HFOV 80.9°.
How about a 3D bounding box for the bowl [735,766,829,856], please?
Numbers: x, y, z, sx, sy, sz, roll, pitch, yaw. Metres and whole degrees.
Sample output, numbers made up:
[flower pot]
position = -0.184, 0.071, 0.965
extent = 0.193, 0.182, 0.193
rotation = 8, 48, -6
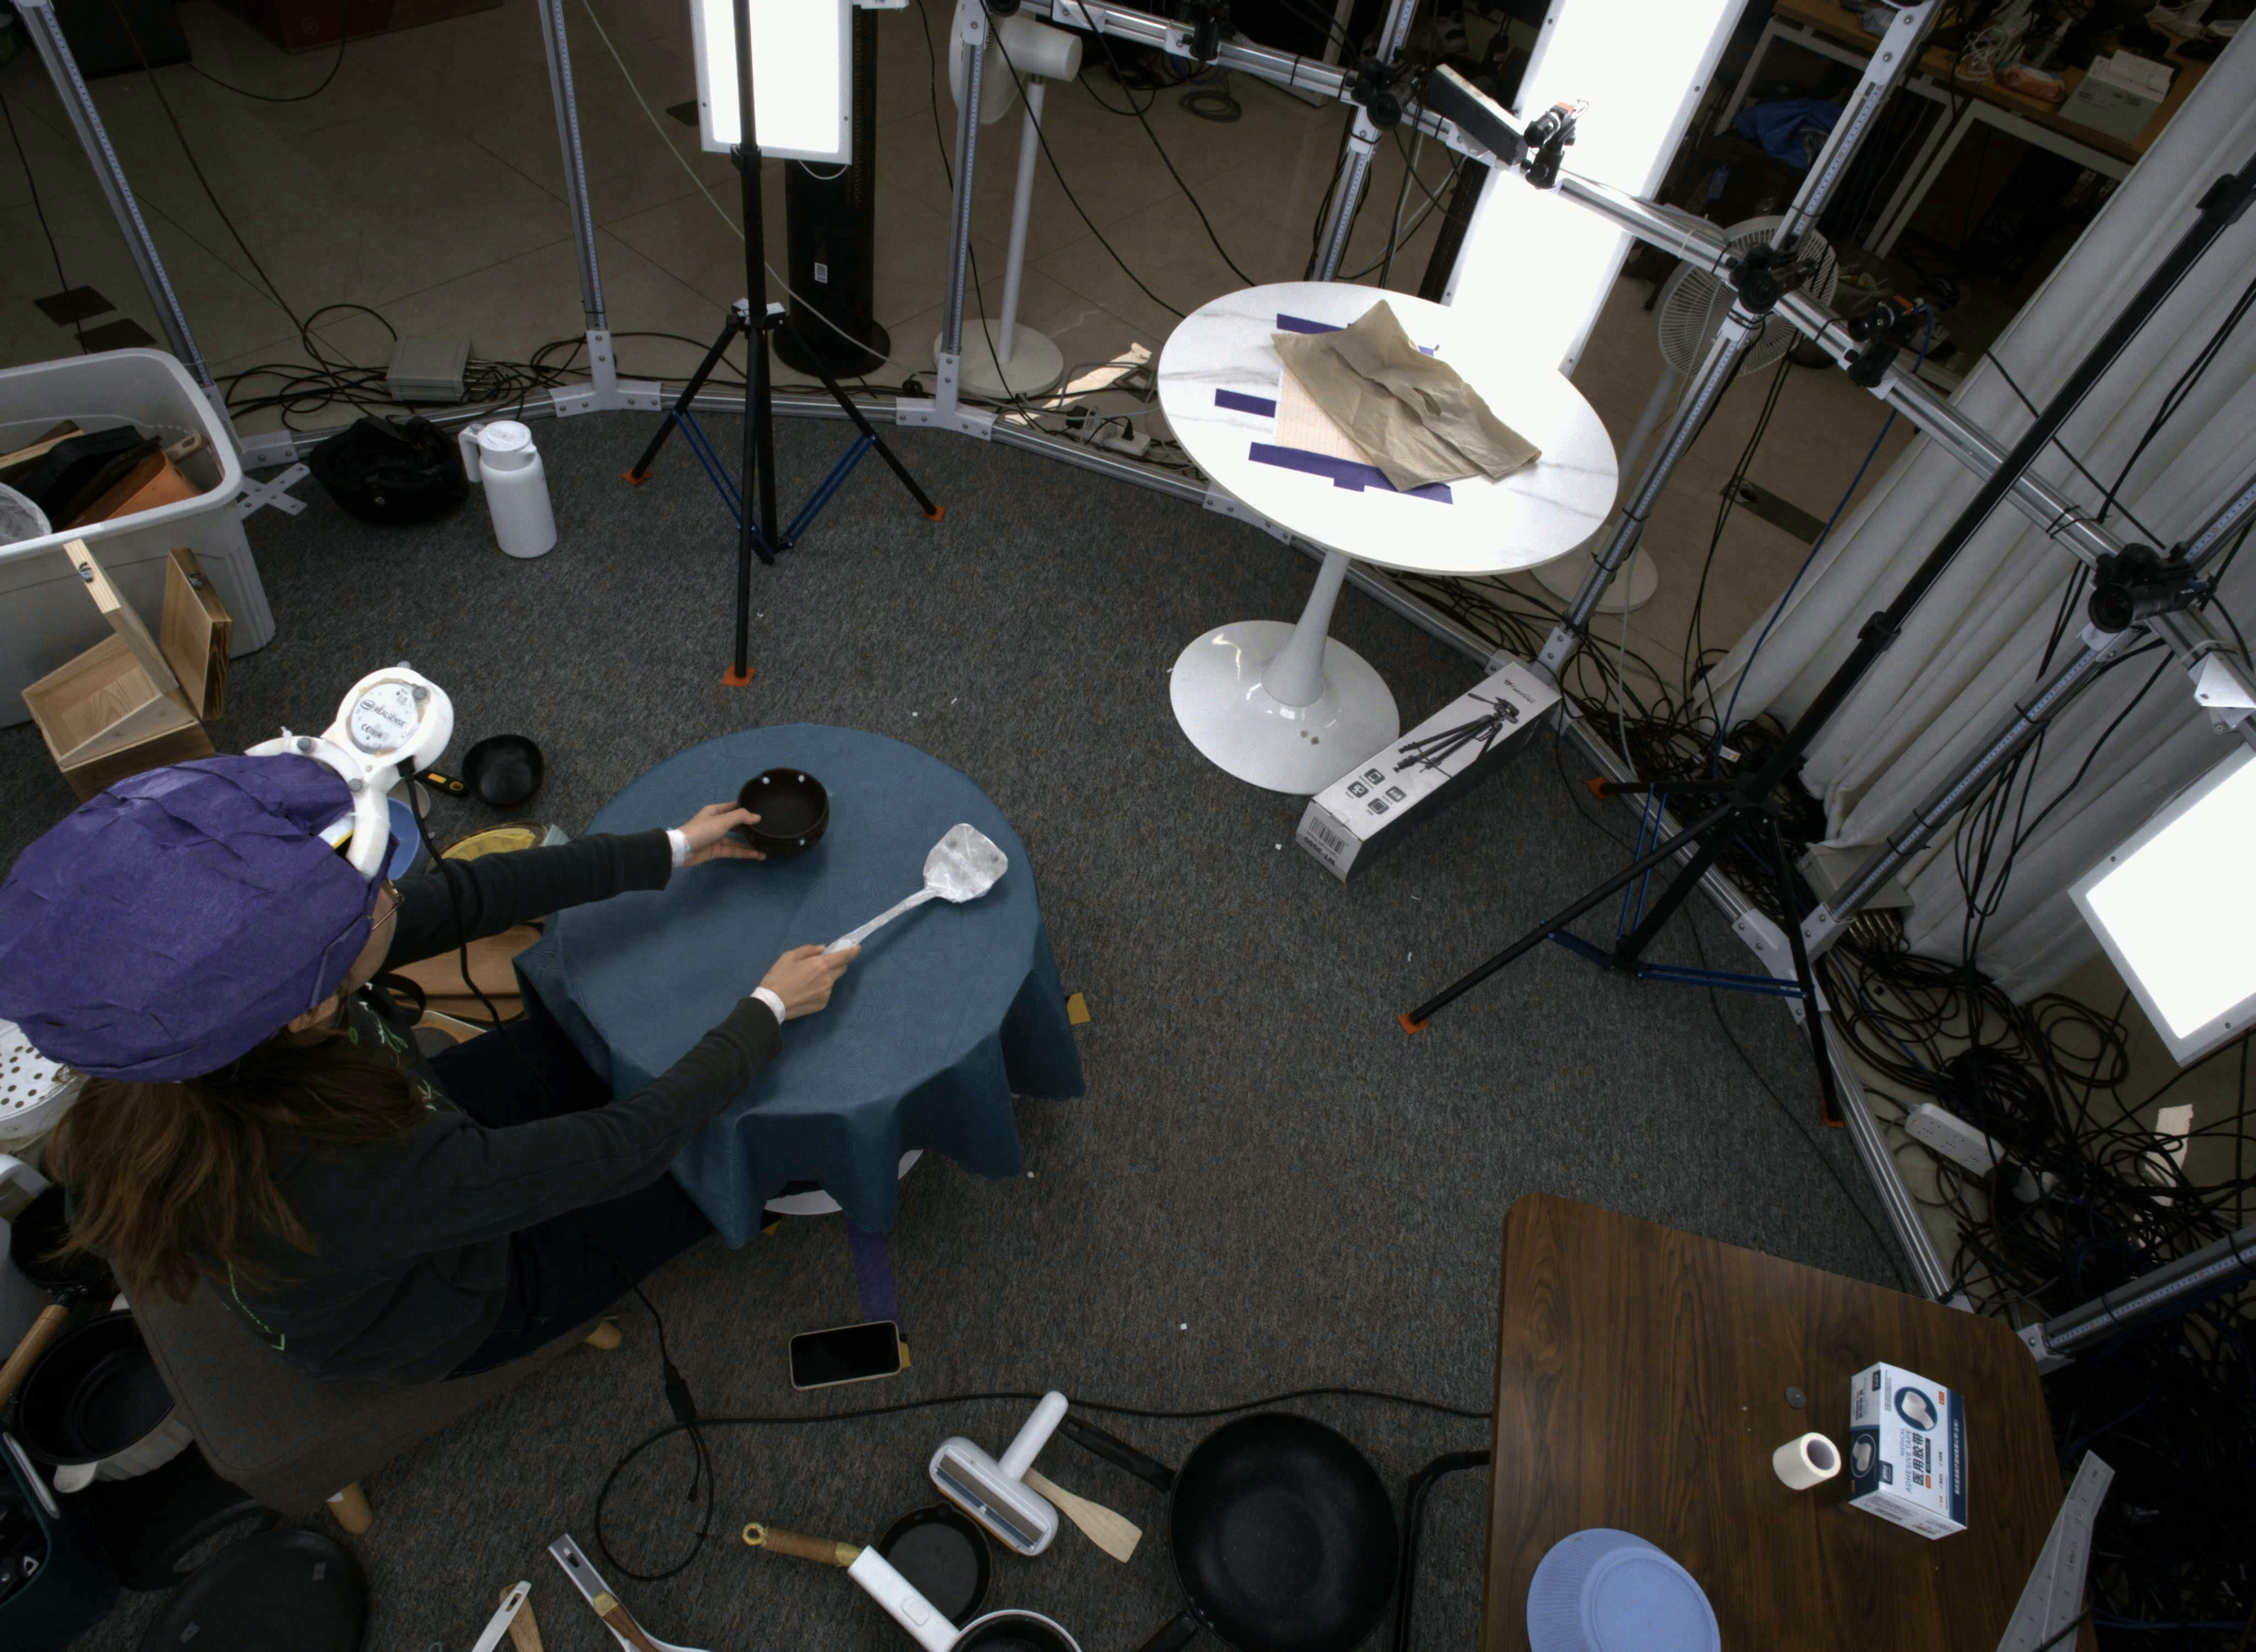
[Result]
[bowl]
position = -0.445, -0.012, 1.671
extent = 0.117, 0.071, 0.116
rotation = 6, 52, -6

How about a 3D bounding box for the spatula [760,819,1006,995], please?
[spatula]
position = -0.306, 0.107, 1.630
extent = 0.097, 0.045, 0.366
rotation = 43, 50, 15
